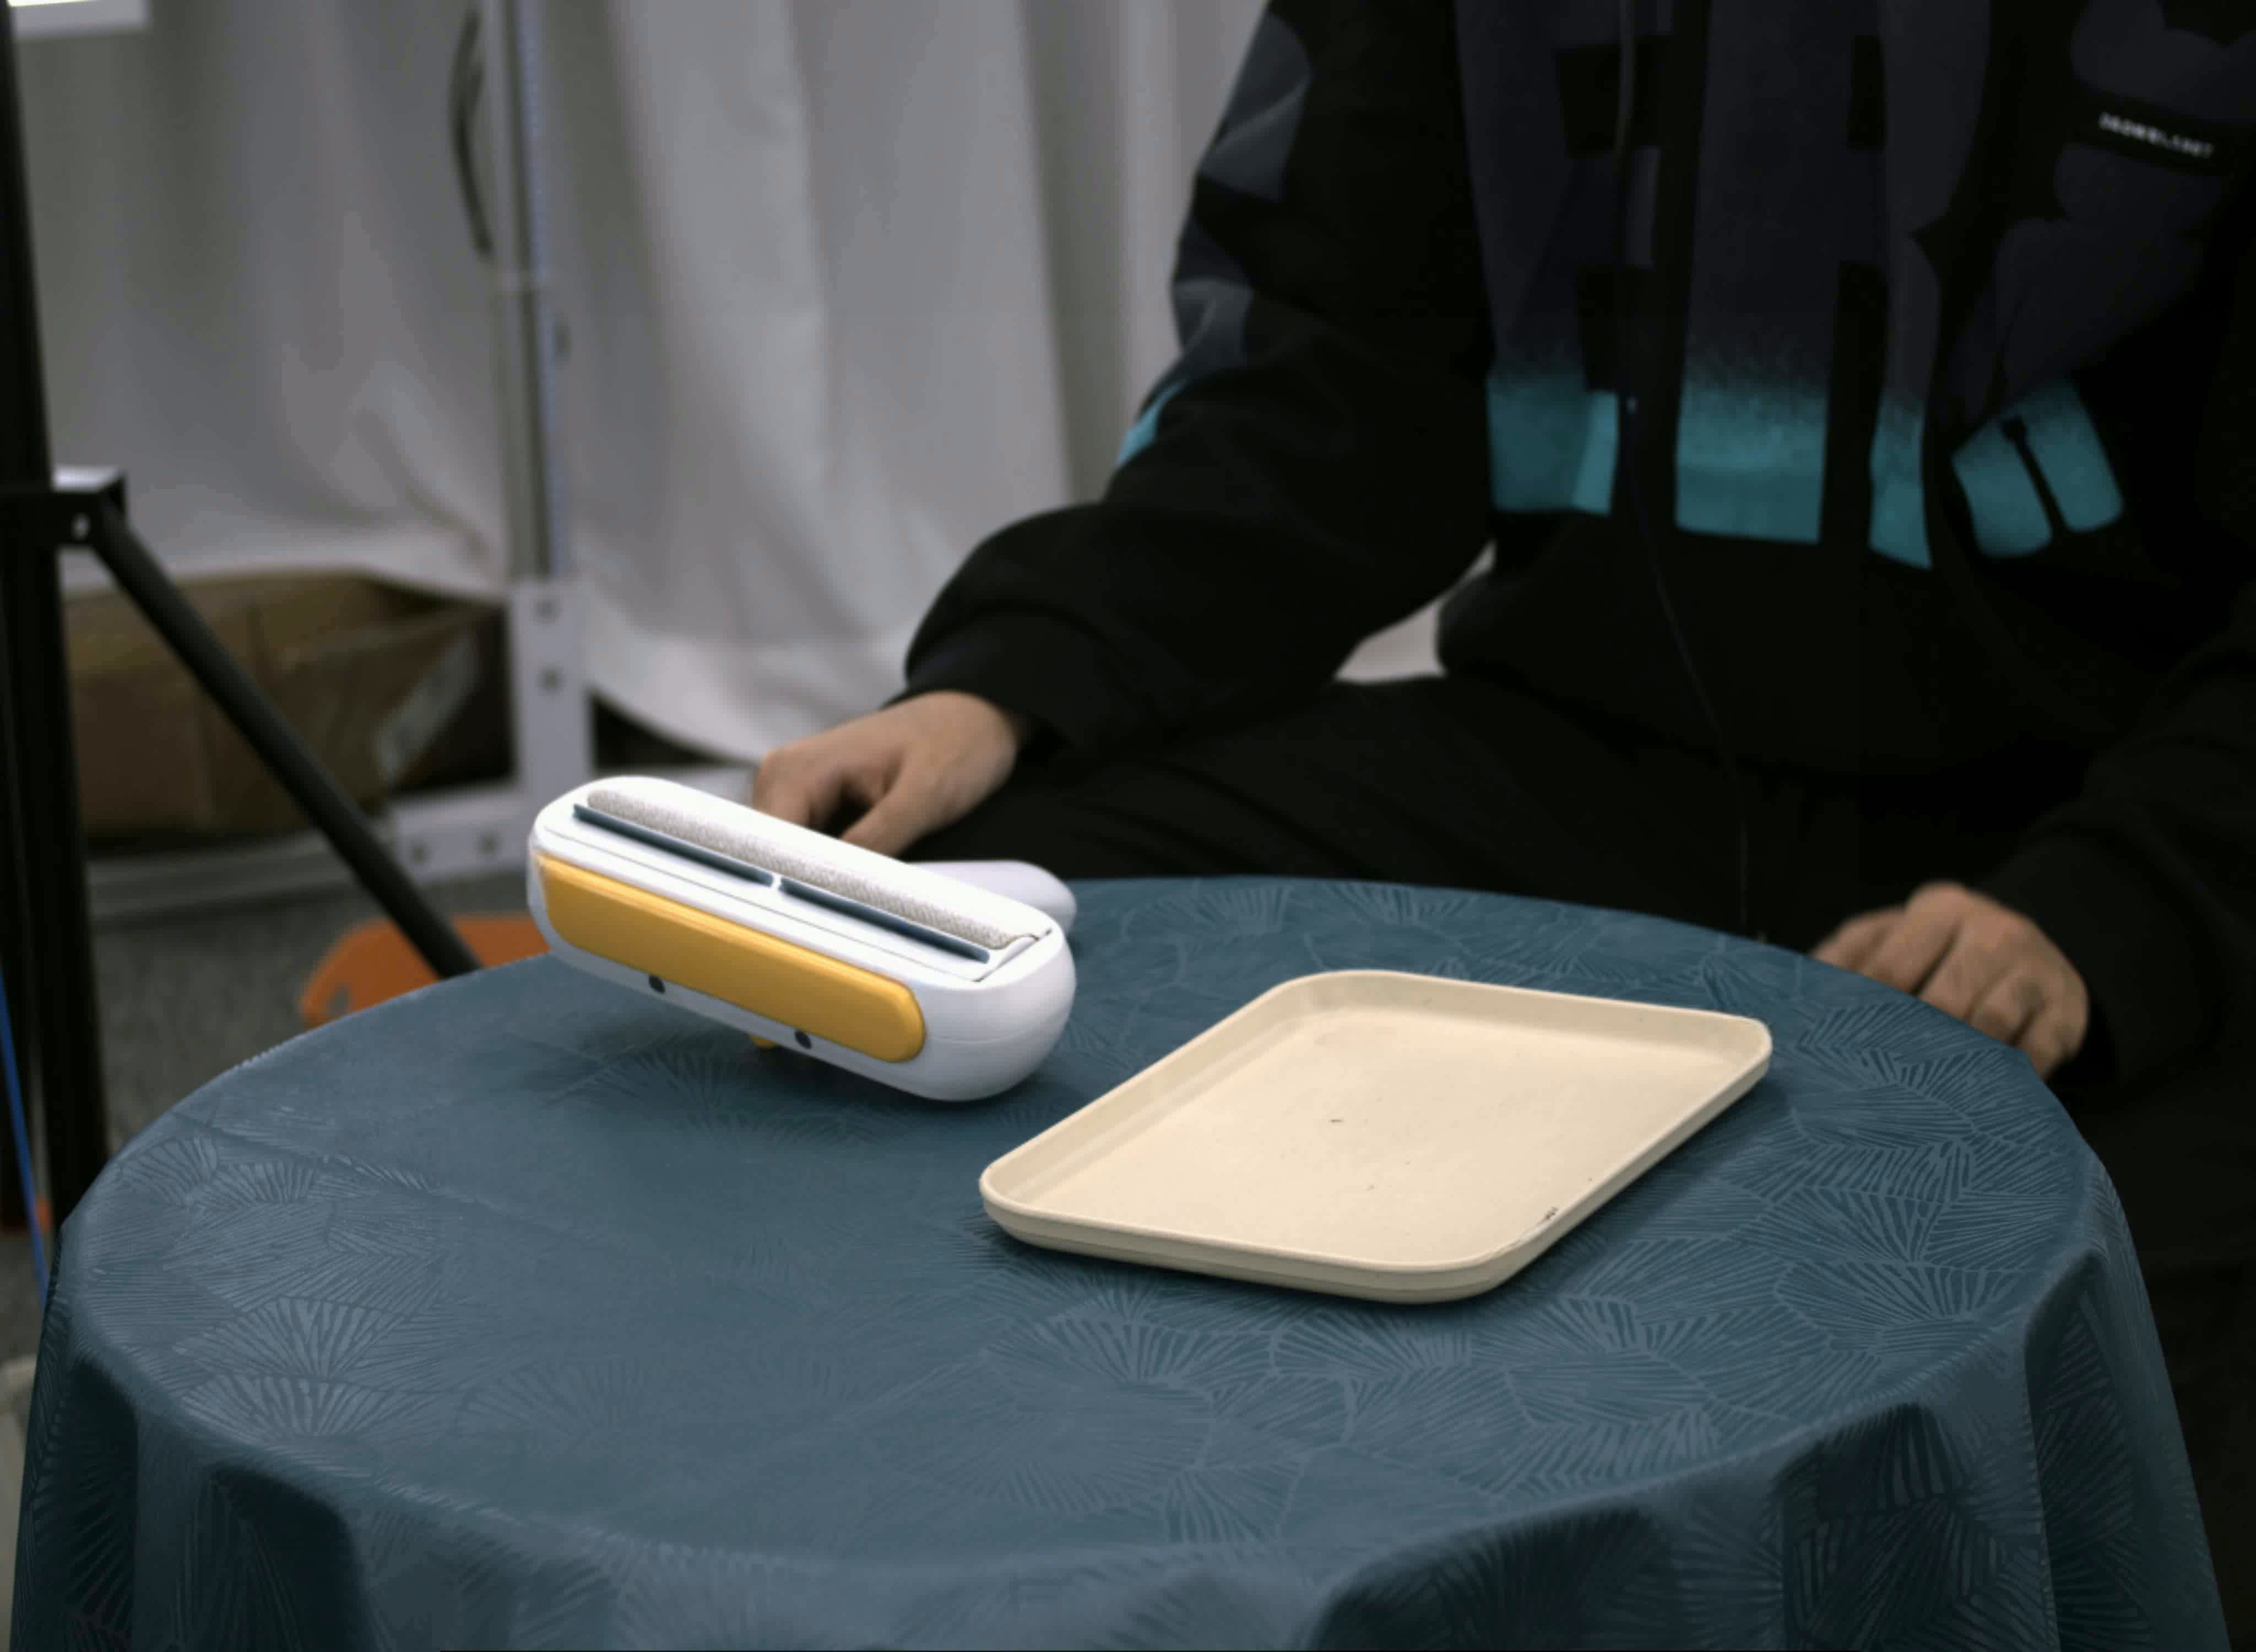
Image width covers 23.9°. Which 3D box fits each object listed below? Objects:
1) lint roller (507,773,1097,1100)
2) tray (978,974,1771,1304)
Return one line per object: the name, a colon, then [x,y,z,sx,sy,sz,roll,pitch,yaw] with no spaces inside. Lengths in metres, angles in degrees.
lint roller: [-0.078,0.028,1.732,0.197,0.074,0.188,15,21,35]
tray: [0.077,0.091,1.571,0.174,0.017,0.235,6,18,30]
